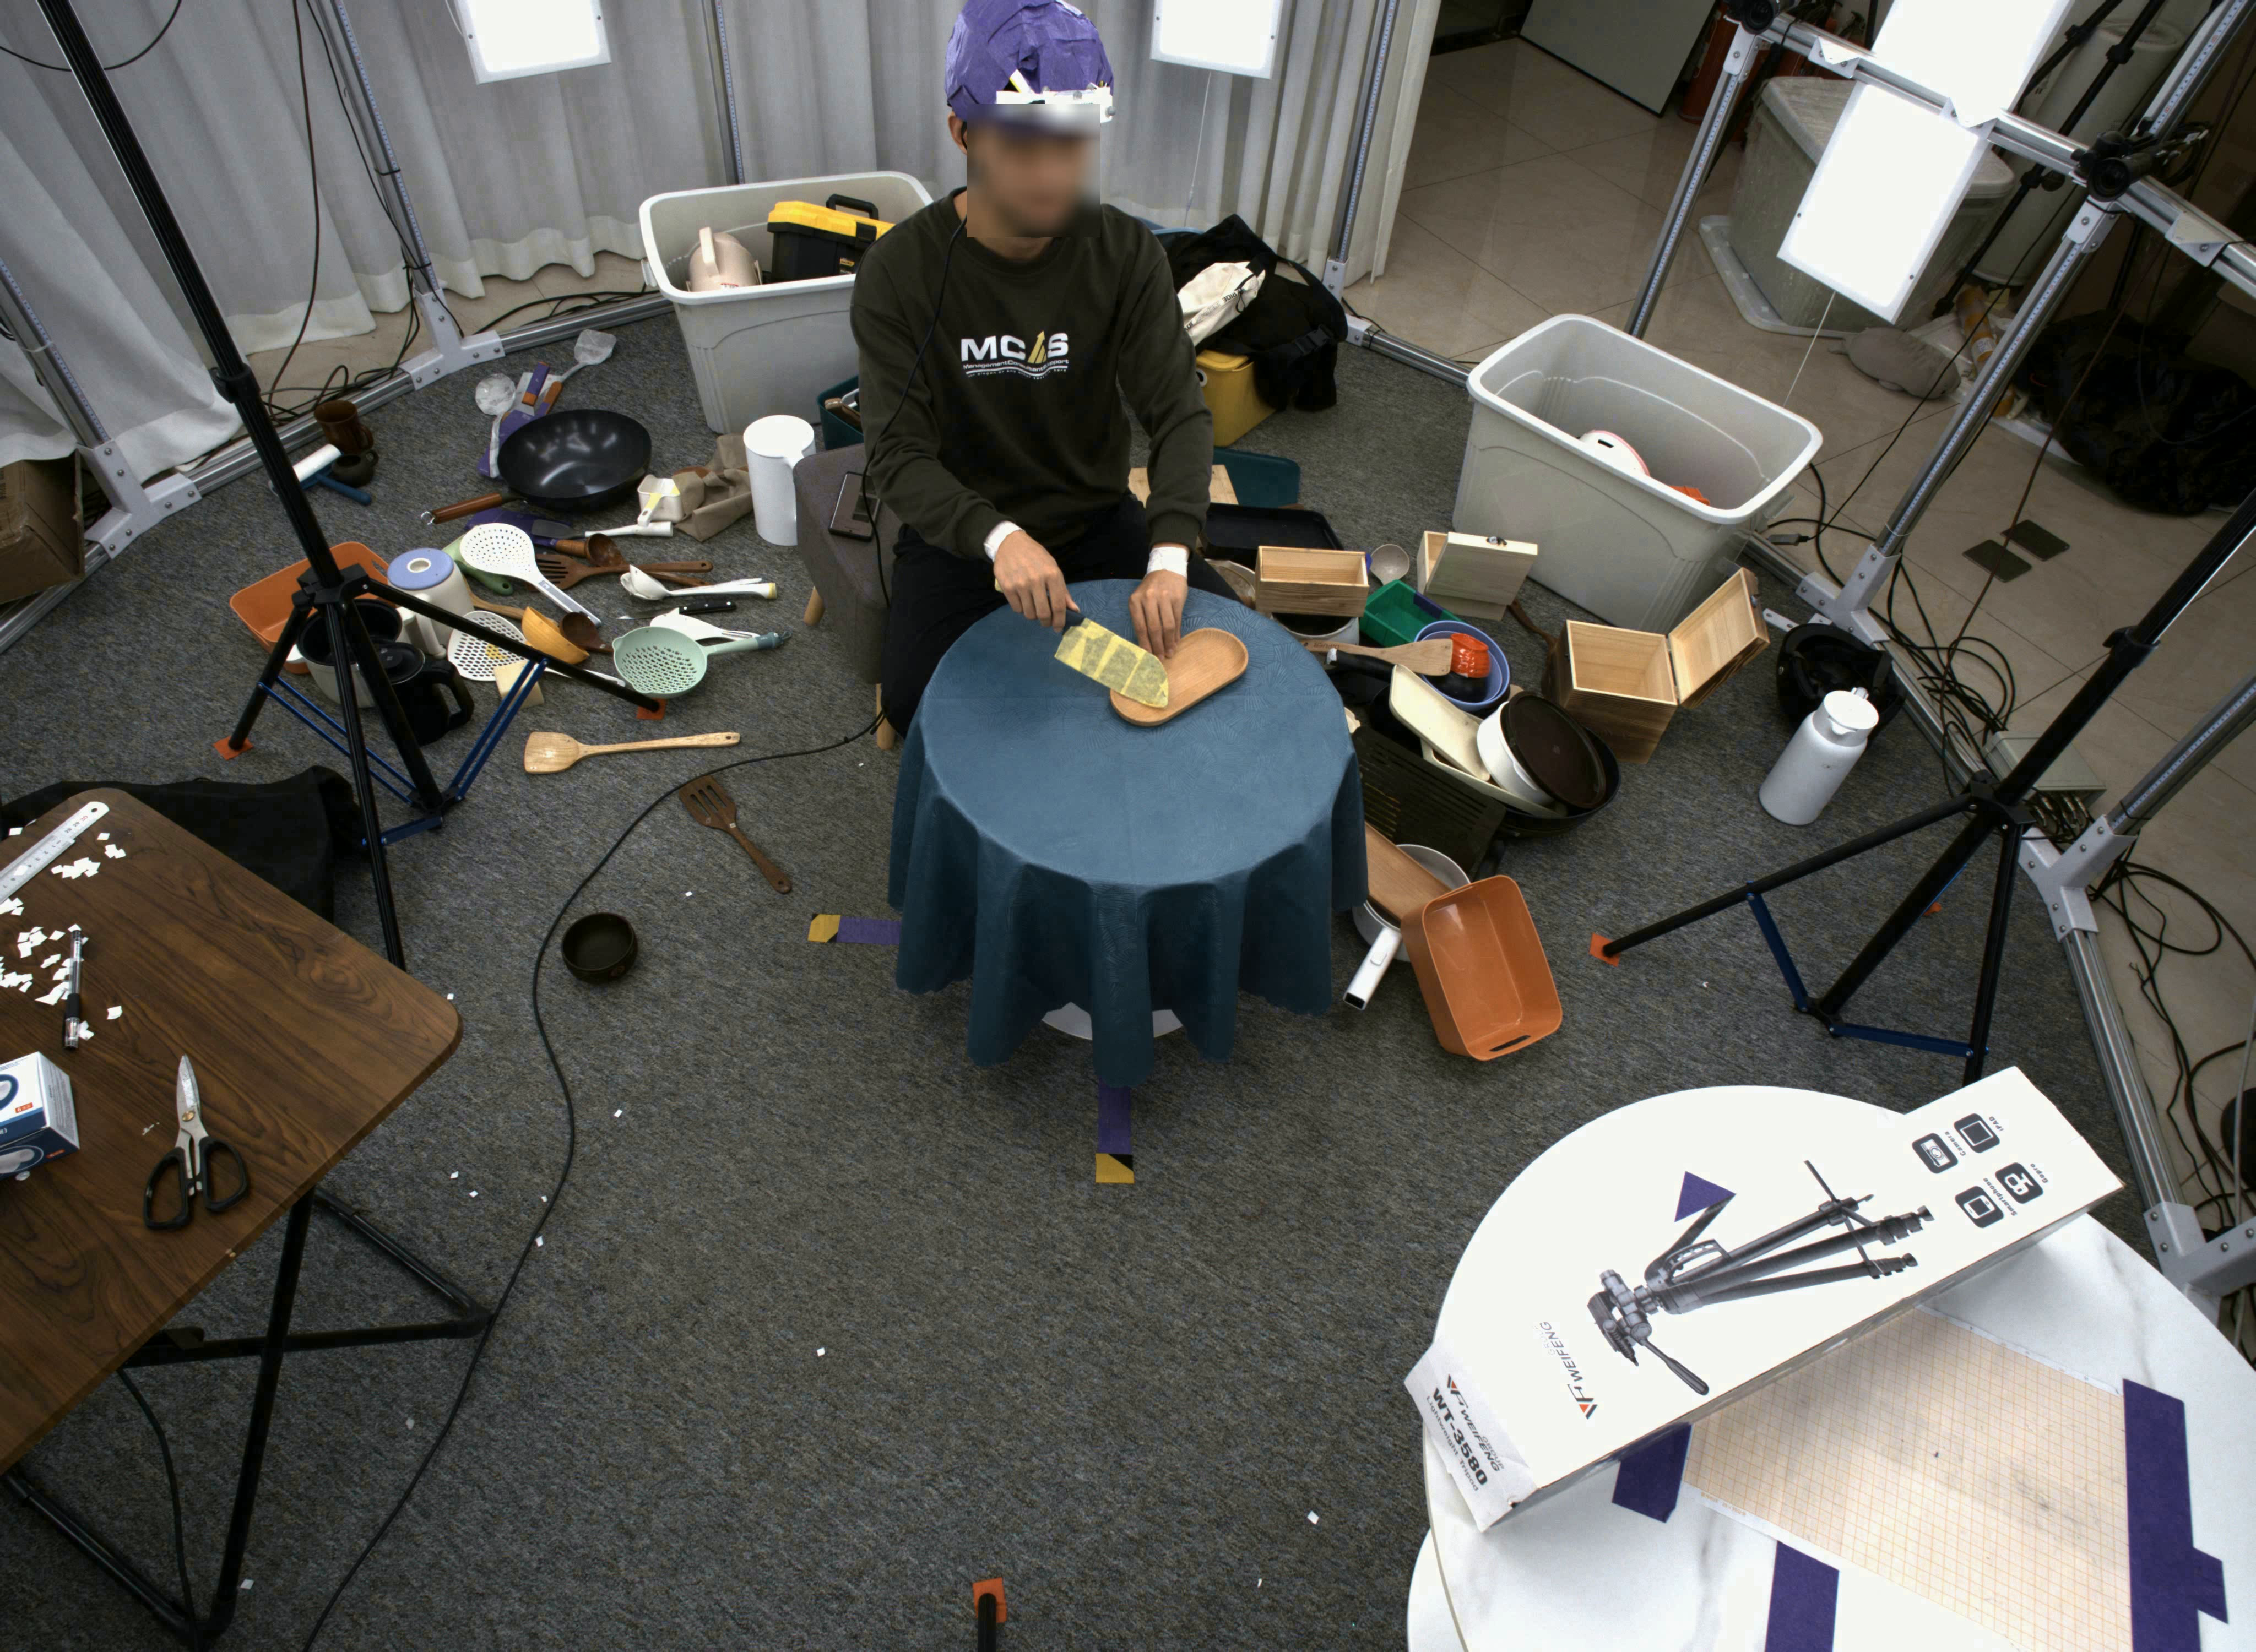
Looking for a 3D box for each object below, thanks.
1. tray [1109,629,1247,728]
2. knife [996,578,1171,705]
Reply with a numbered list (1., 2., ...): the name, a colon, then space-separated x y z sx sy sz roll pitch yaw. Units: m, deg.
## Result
1. tray: 0.073 -0.212 1.839 0.233 0.020 0.103 -33 63 -25
2. knife: -0.064 -0.256 1.793 0.289 0.080 0.027 32 18 1
